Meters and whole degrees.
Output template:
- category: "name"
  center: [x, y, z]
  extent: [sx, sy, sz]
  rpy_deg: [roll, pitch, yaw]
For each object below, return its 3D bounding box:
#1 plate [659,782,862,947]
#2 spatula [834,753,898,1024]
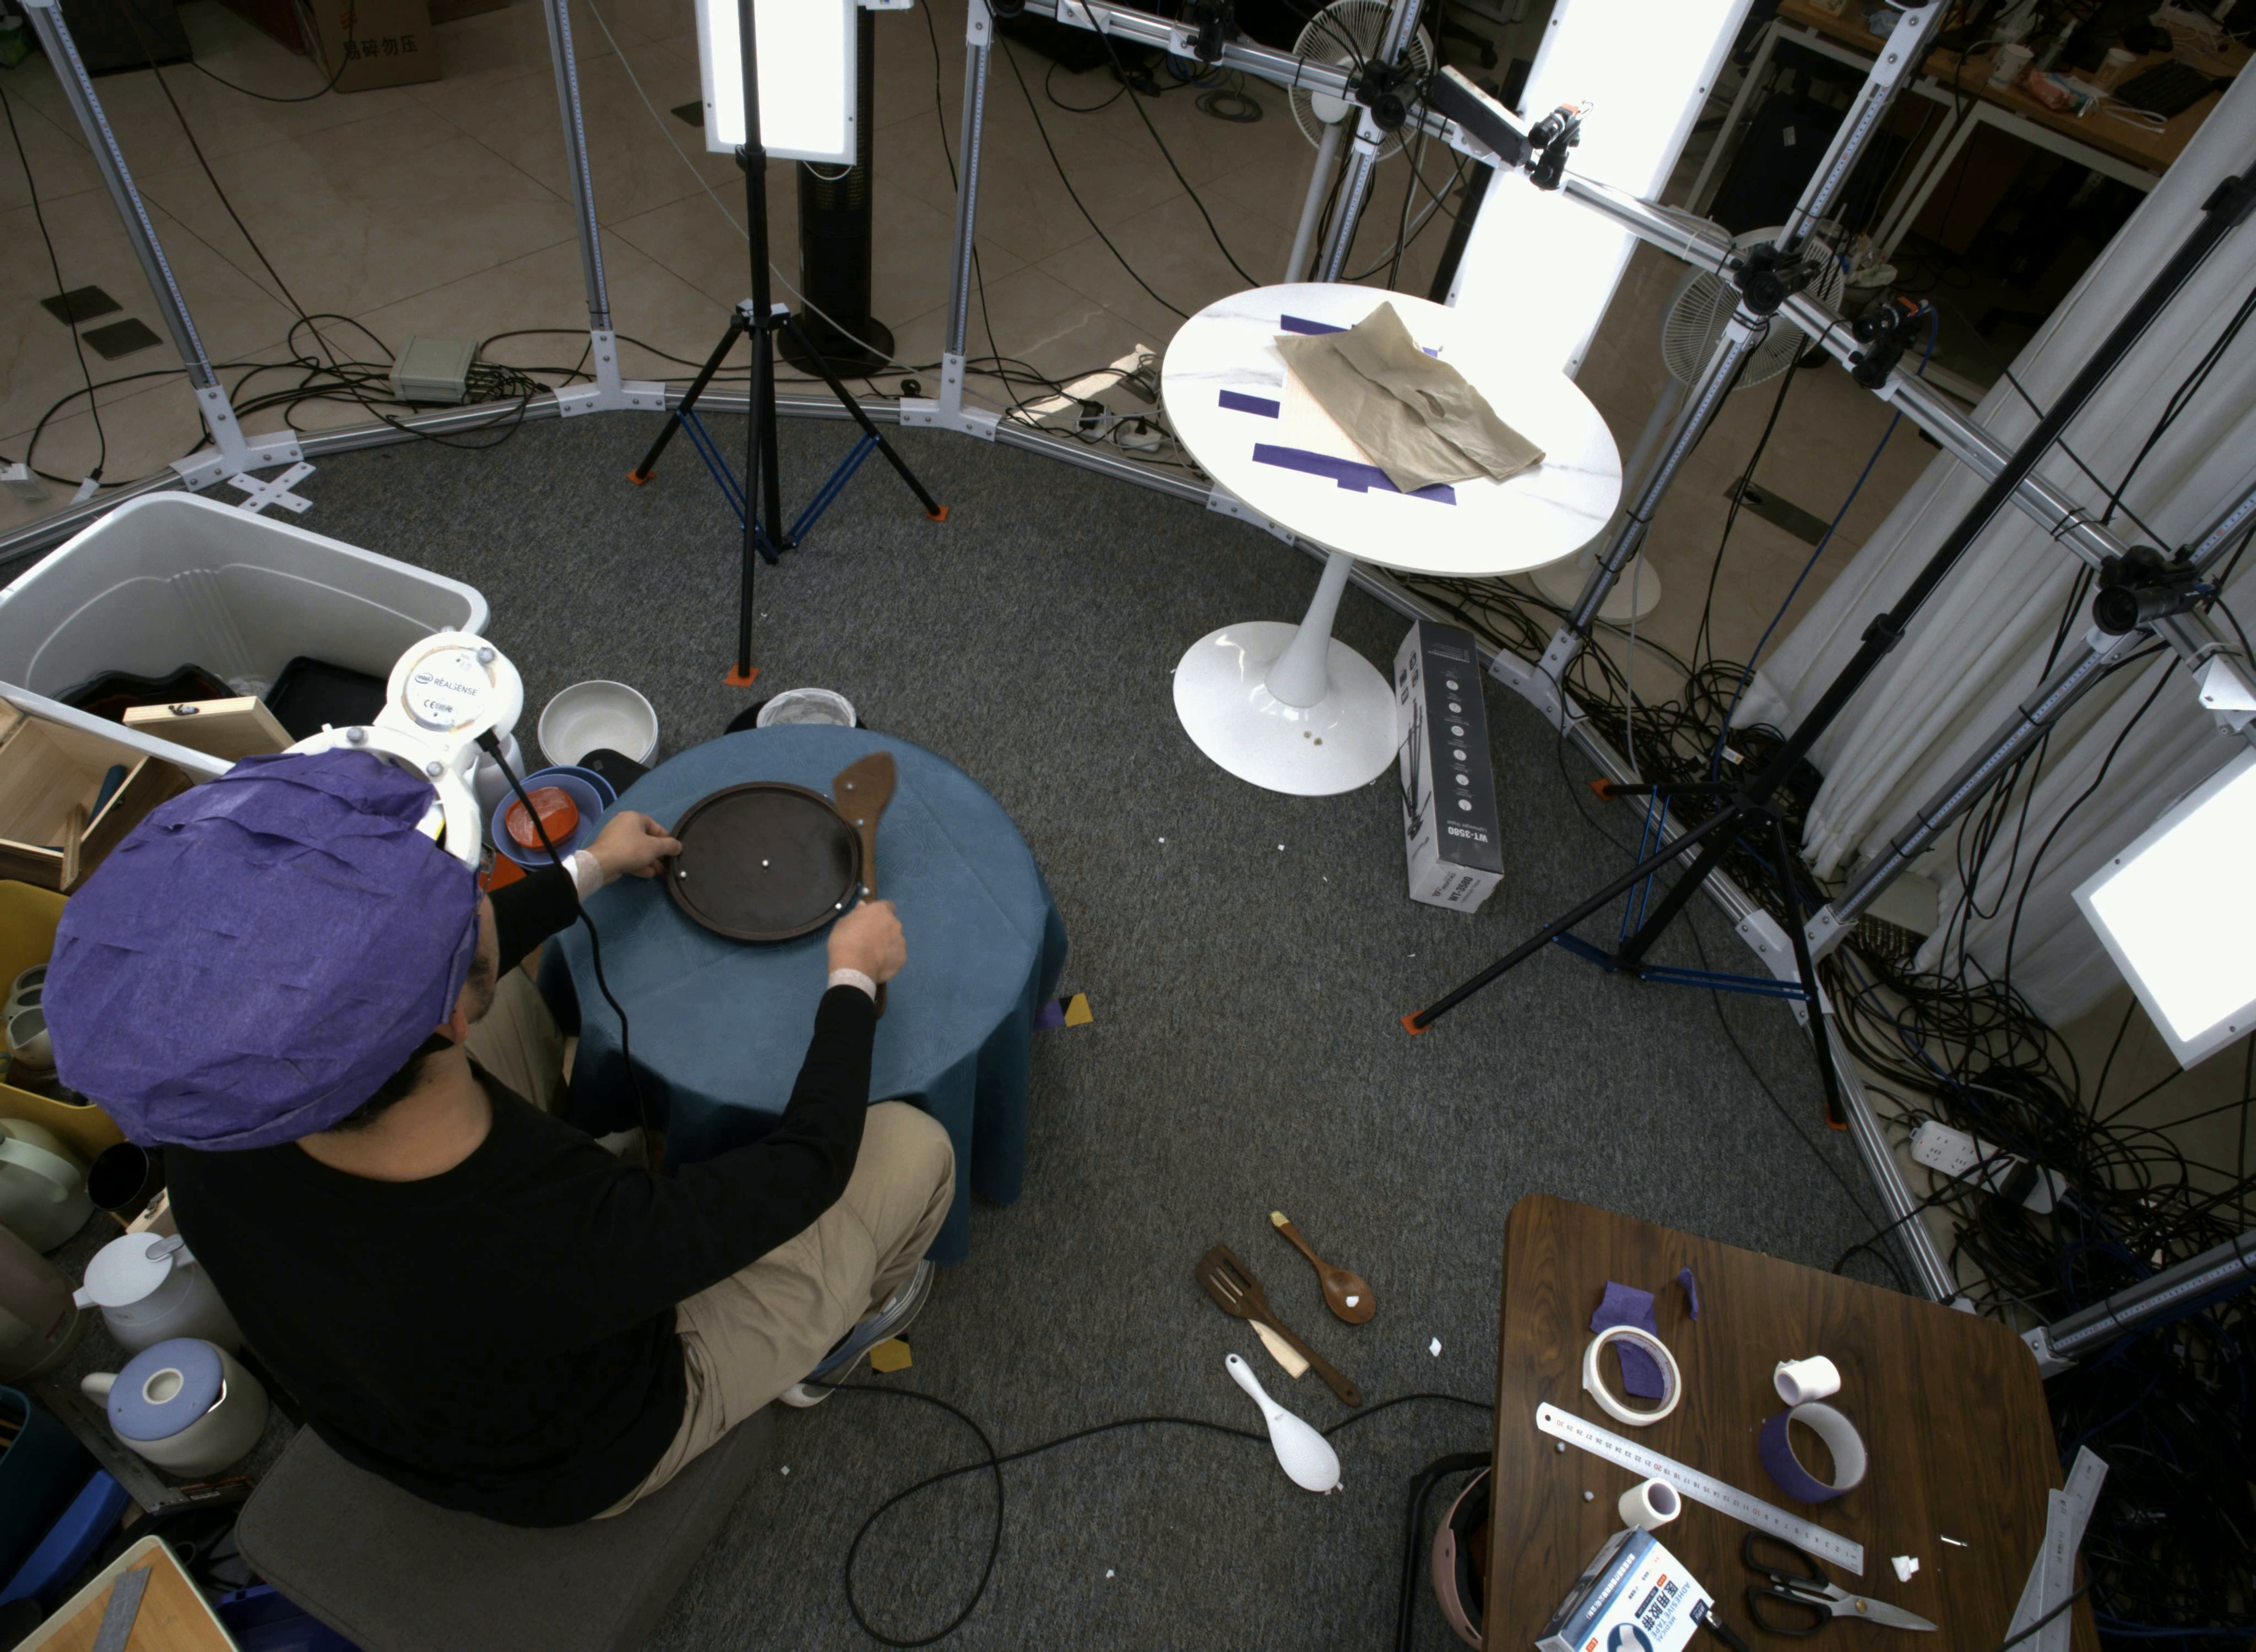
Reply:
- category: "plate"
  center: [-0.469, 0.045, 1.655]
  extent: [0.255, 0.029, 0.250]
  rpy_deg: [10, 53, -11]
- category: "spatula"
  center: [-0.314, 0.066, 1.565]
  extent: [0.094, 0.016, 0.377]
  rpy_deg: [-21, 52, 14]
